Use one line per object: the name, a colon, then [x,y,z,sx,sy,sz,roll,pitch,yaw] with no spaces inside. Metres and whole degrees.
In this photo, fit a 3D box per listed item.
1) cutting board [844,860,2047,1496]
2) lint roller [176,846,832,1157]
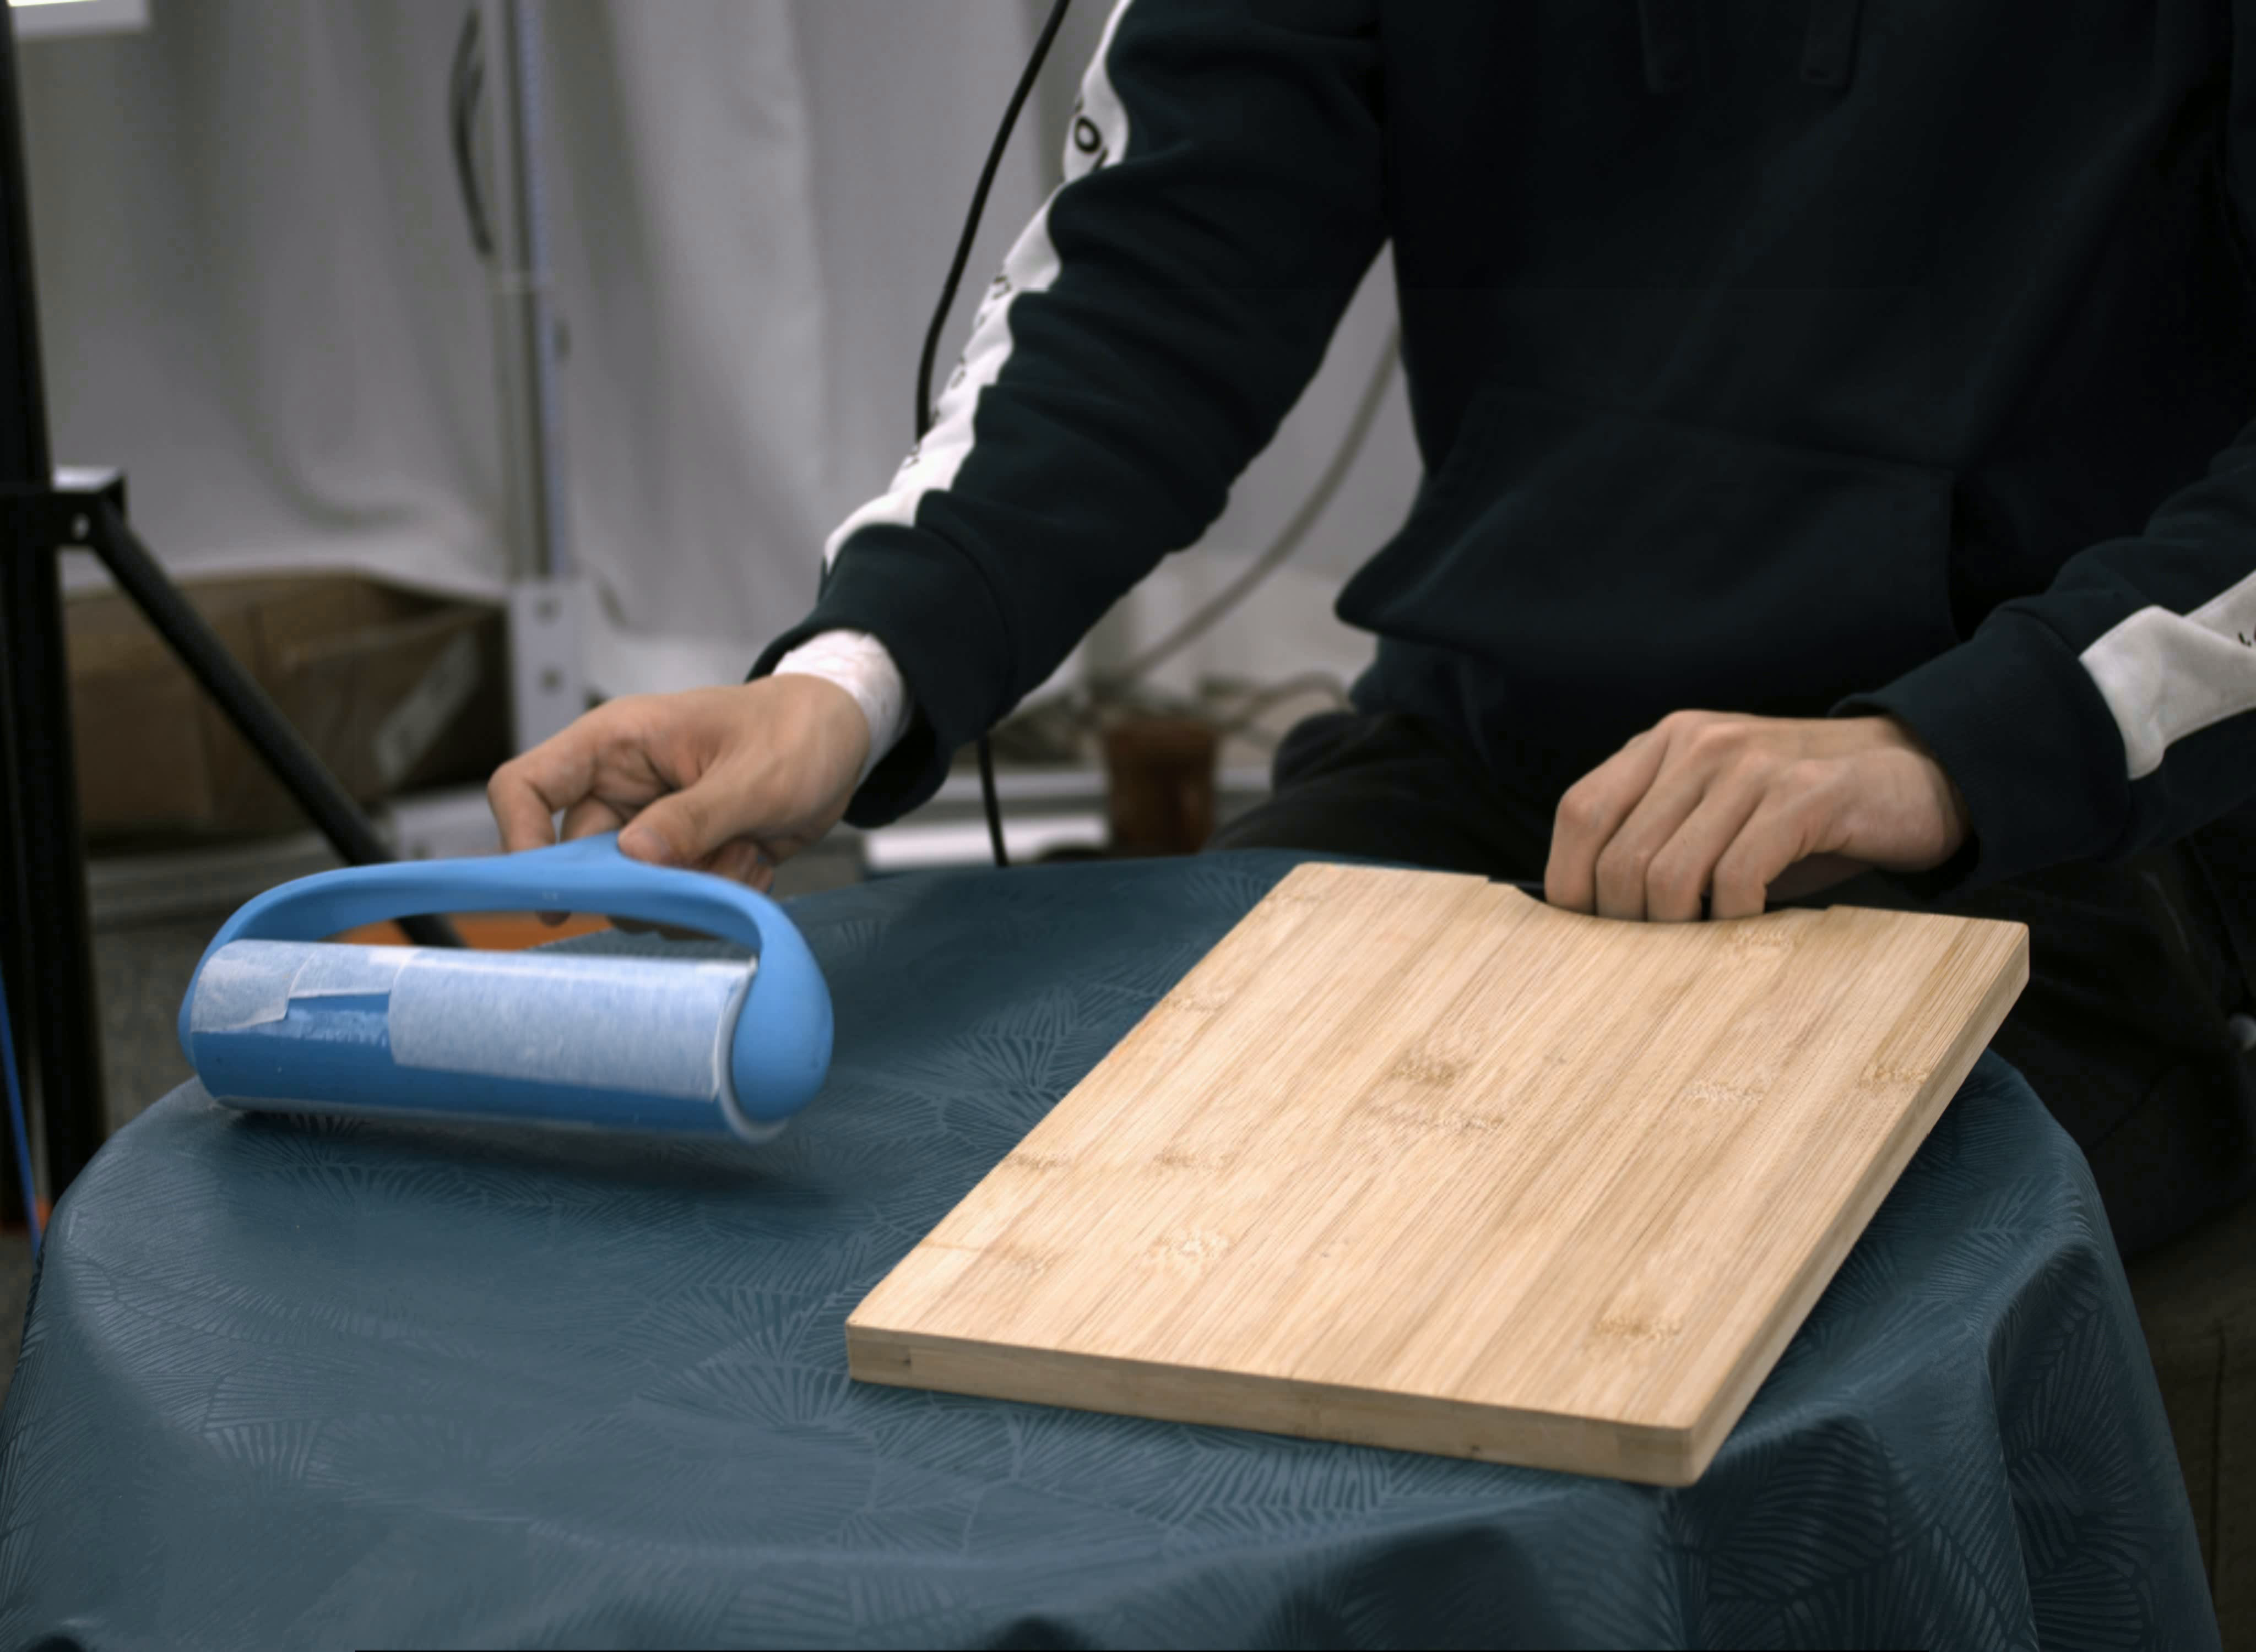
cutting board: [0.101,0.090,1.516,0.254,0.023,0.344,4,23,23]
lint roller: [-0.169,0.039,1.665,0.232,0.067,0.178,0,27,27]
